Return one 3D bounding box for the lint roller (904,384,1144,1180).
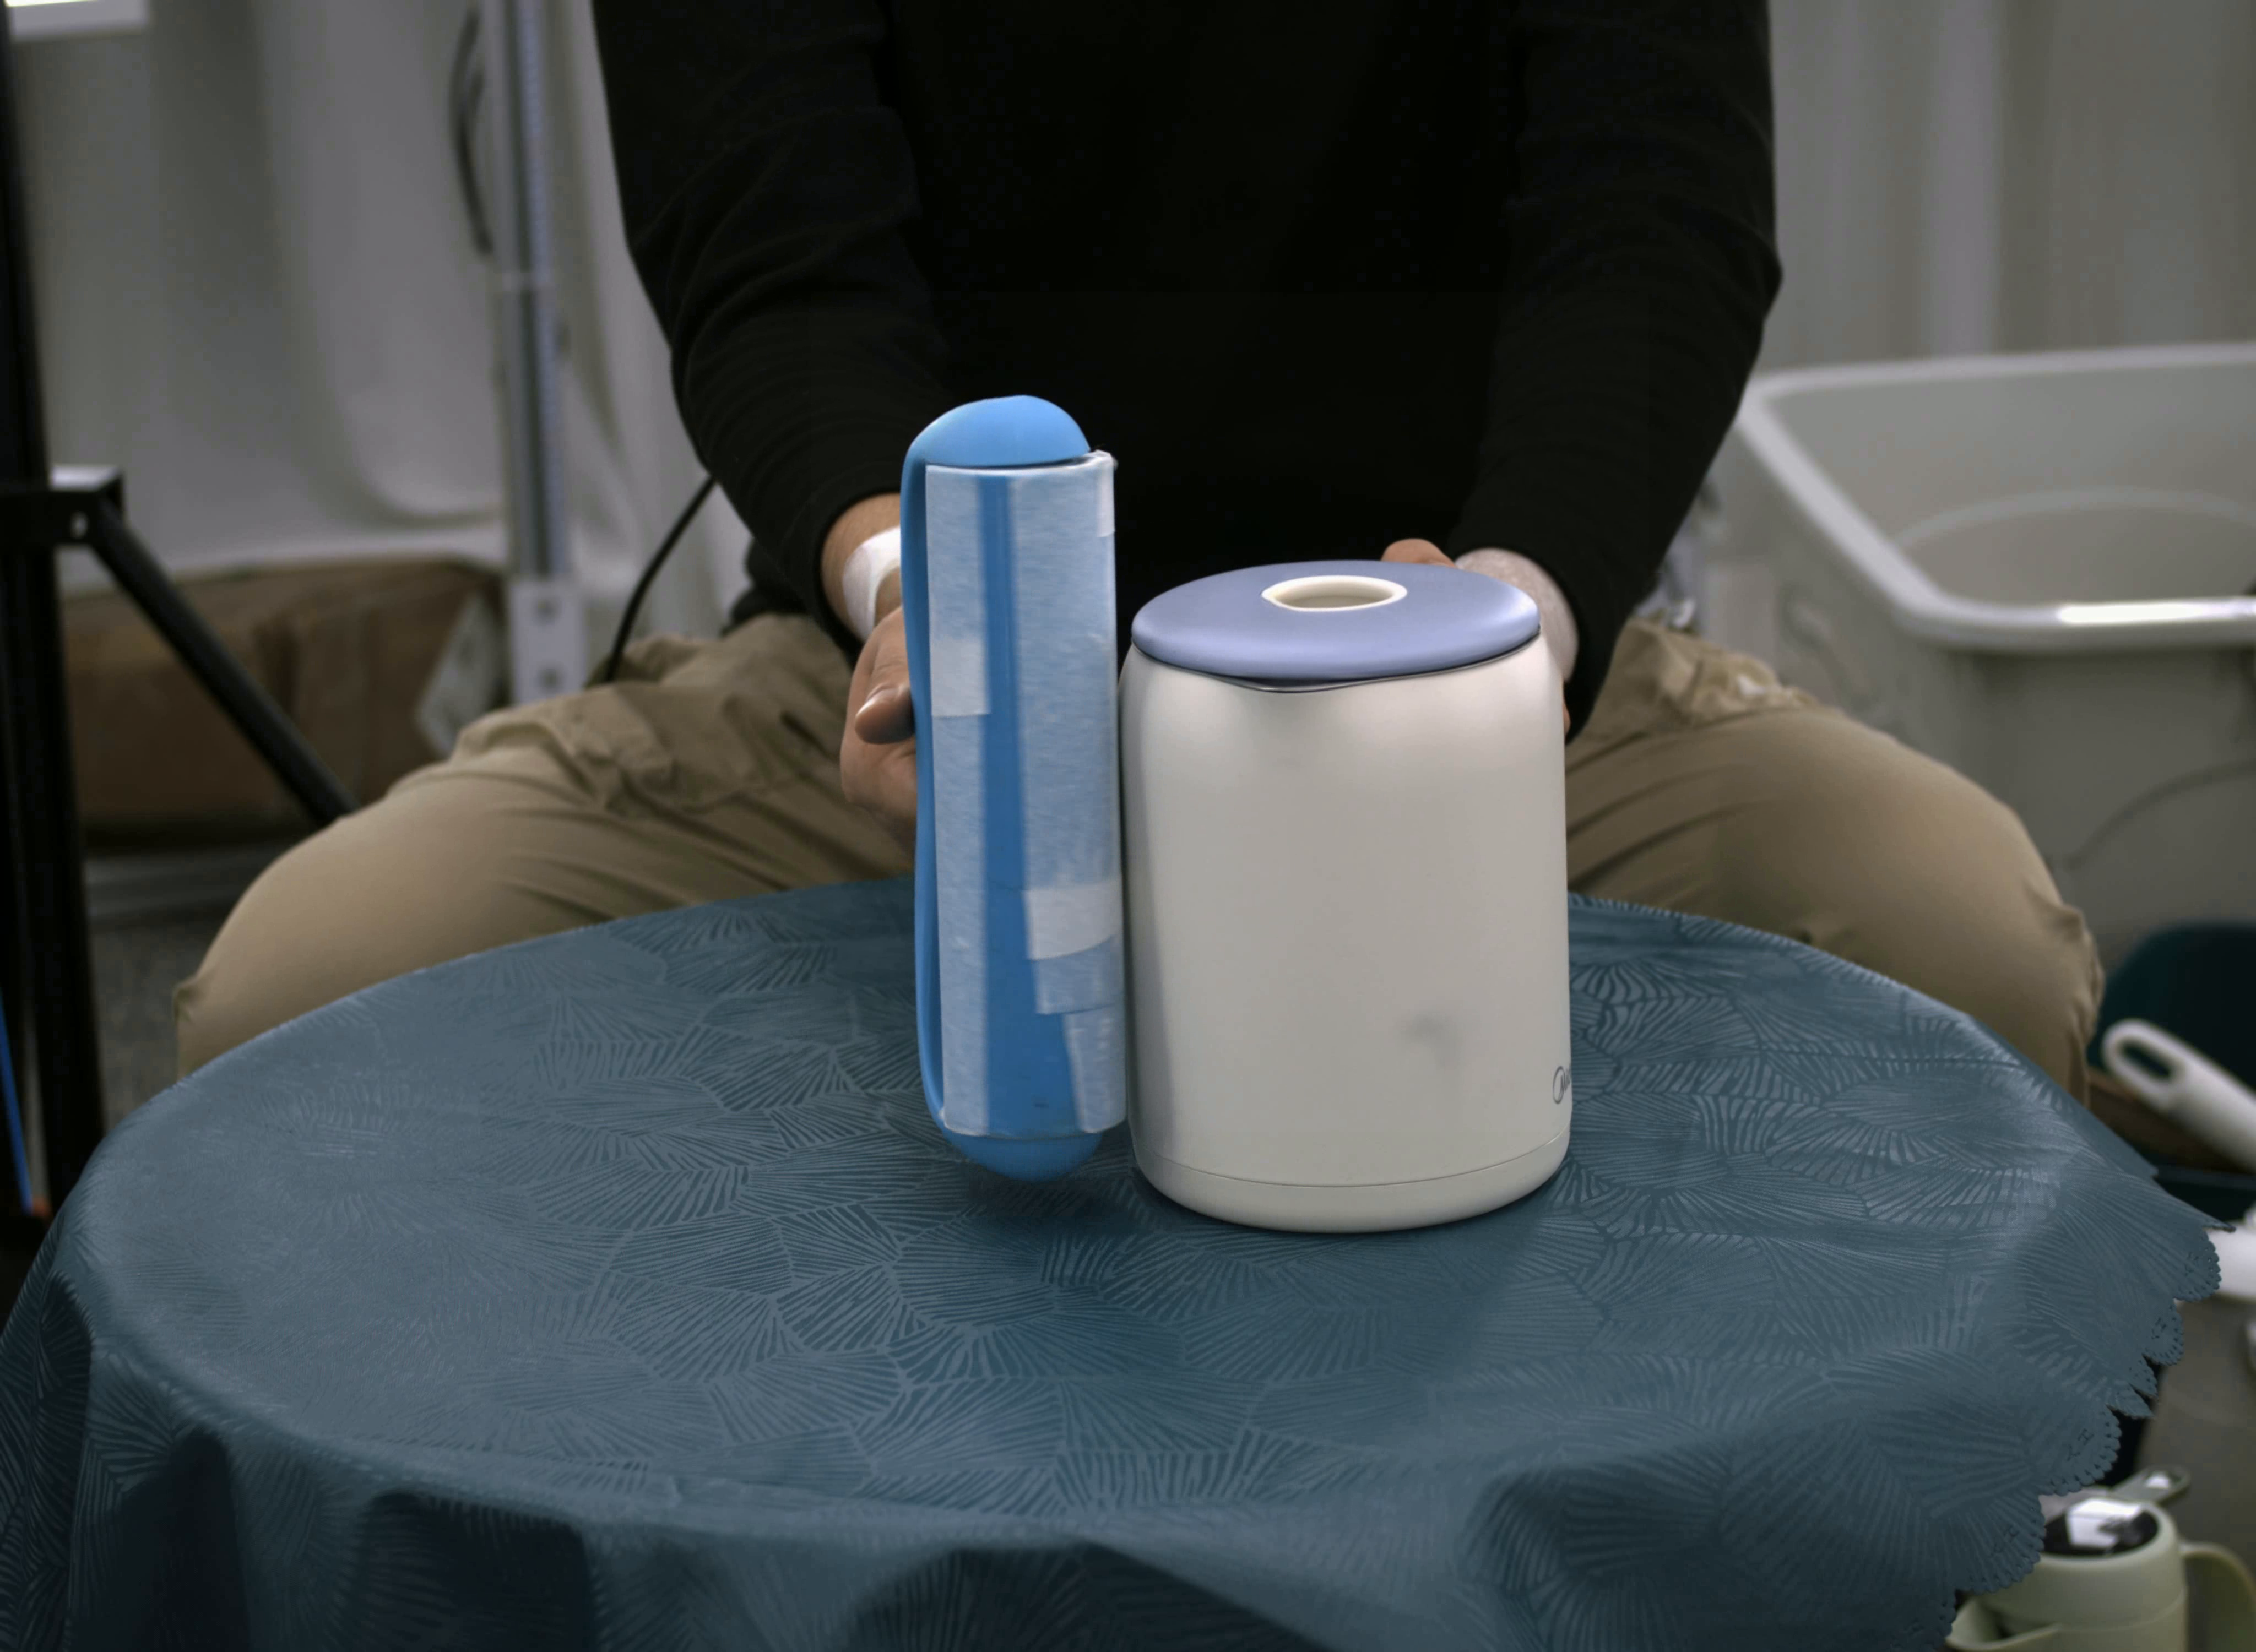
[{"bbox_3d":[-0.032,-0.019,1.584,0.067,0.229,0.181,-4,7,-5],"label":"lint roller"}]

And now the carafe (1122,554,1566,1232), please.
[{"bbox_3d":[0.068,0.013,1.570,0.133,0.182,0.189,2,14,13],"label":"carafe"}]
